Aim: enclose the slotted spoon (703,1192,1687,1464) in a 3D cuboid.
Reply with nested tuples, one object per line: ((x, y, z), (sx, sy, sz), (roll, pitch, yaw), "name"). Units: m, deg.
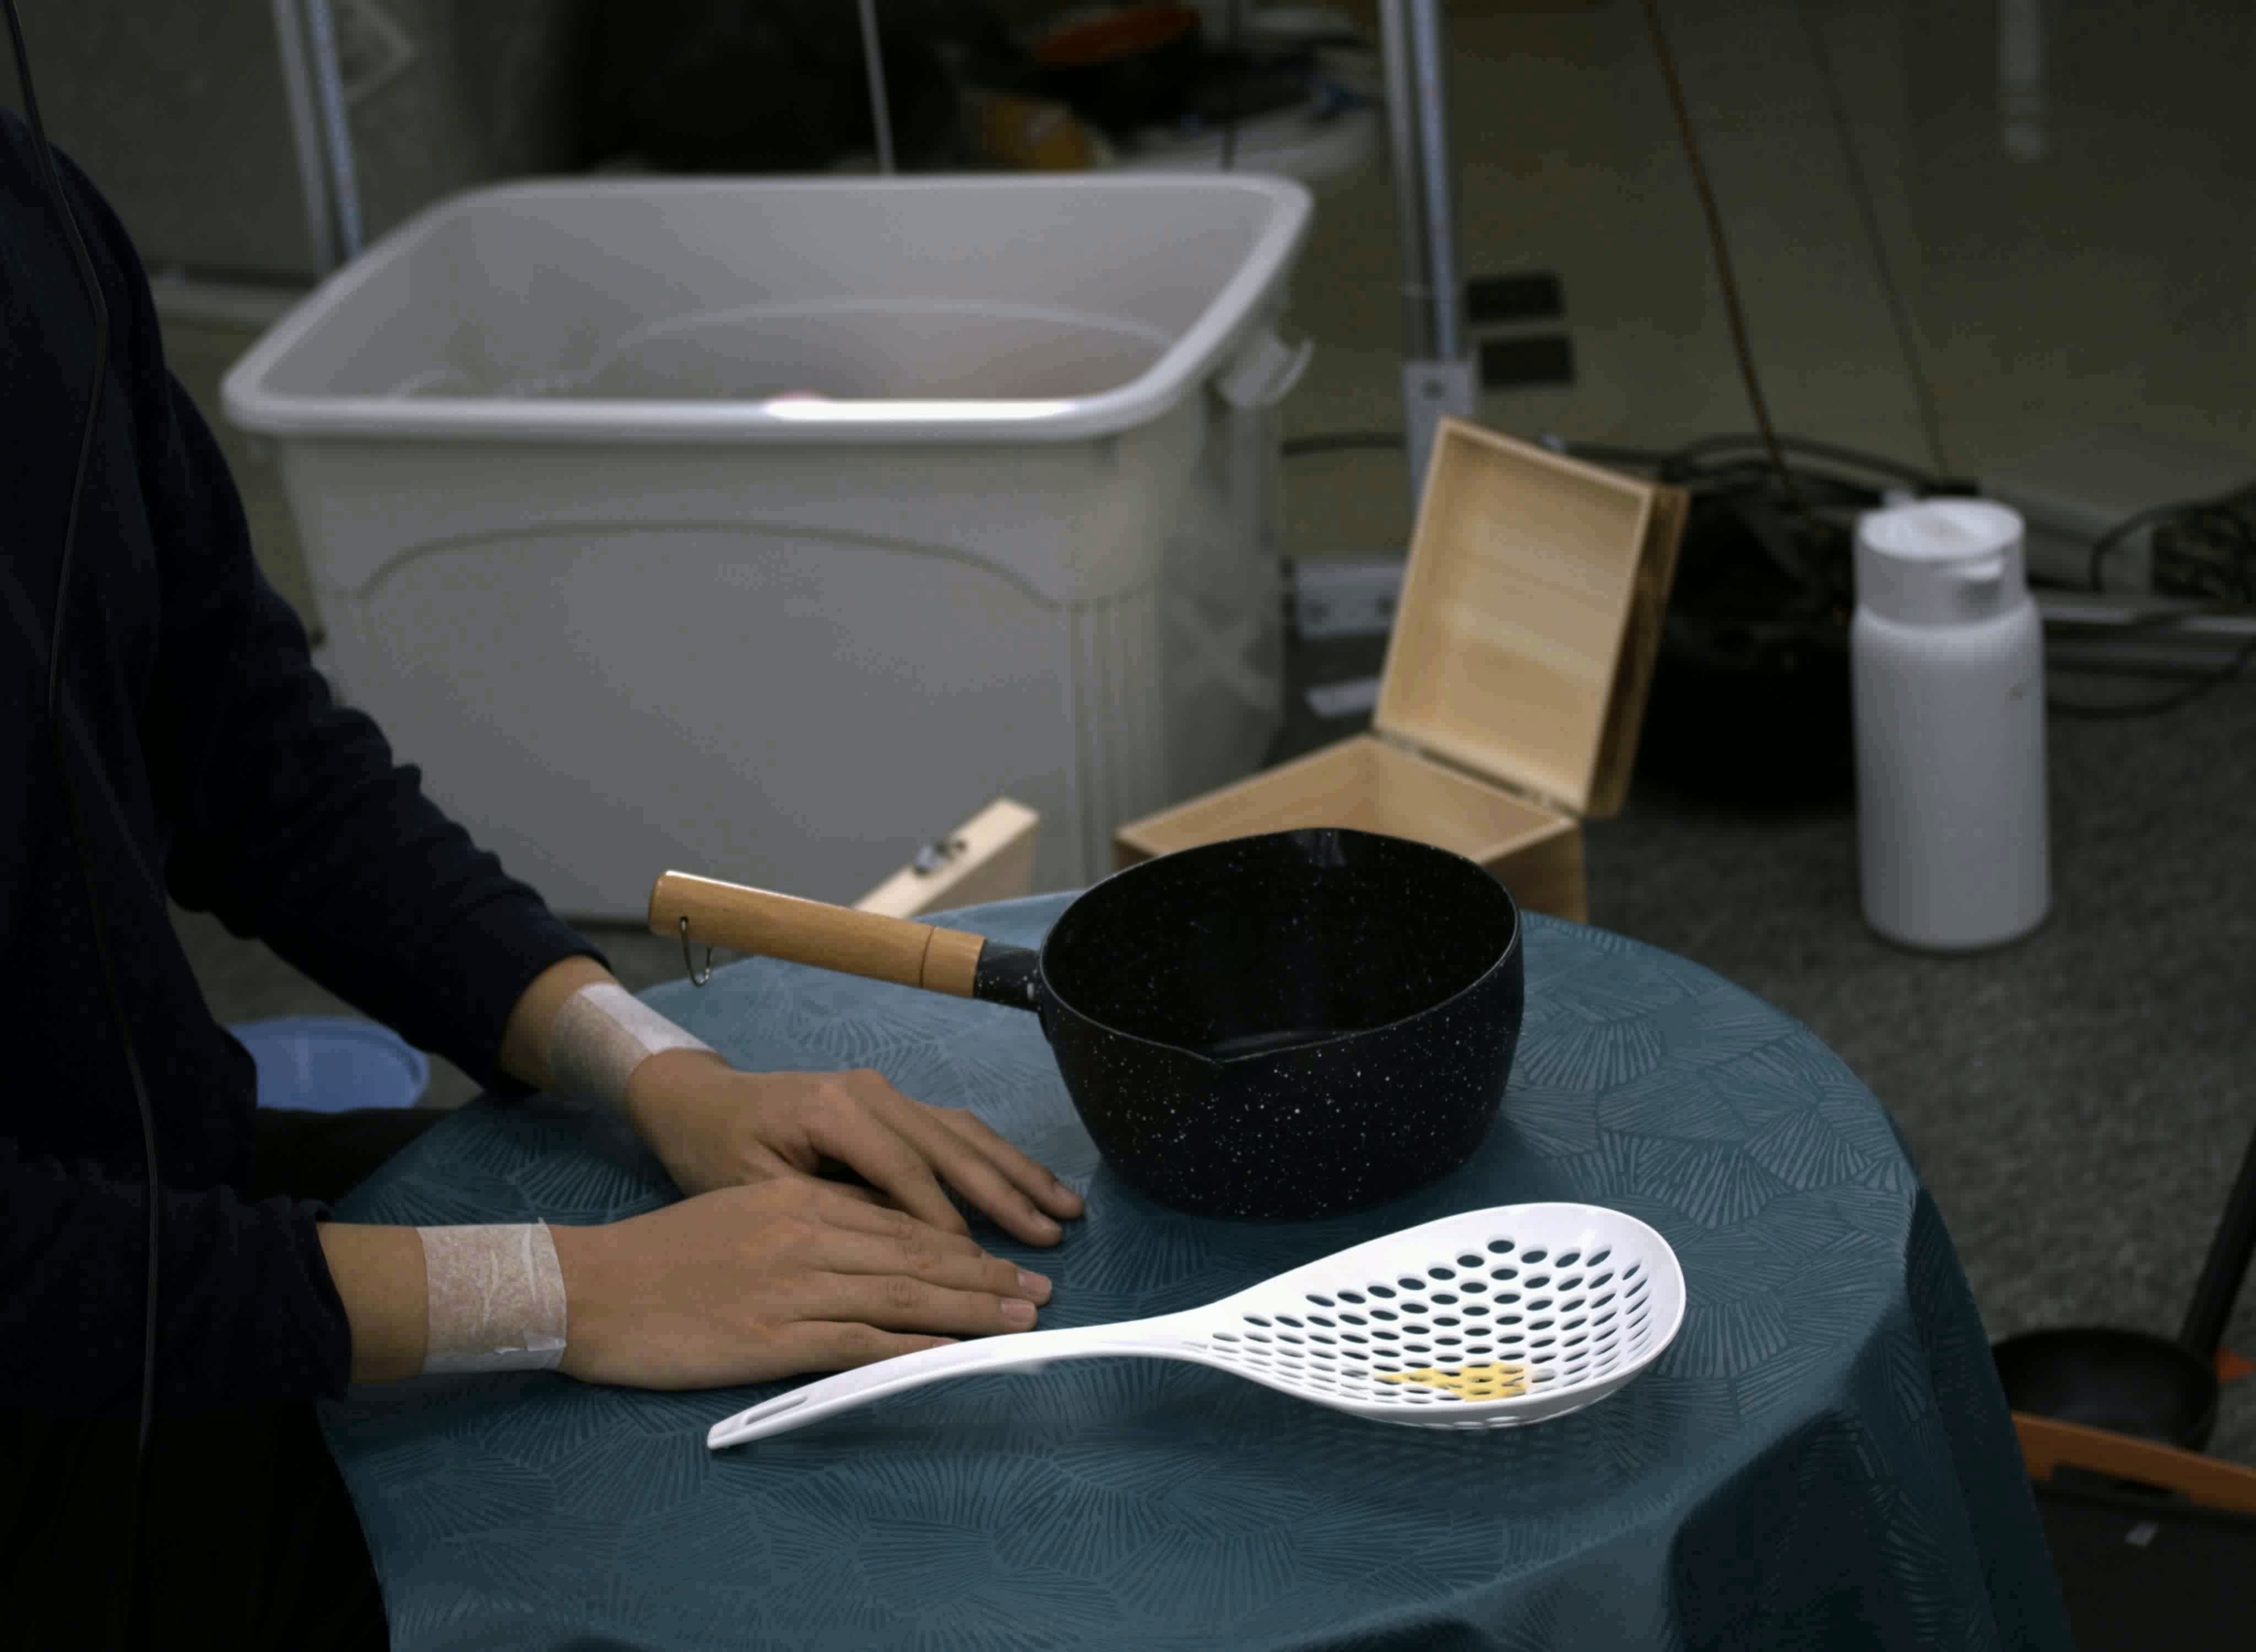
((0.022, 0.188, 1.986), (0.347, 0.051, 0.135), (-3, 27, 3), "slotted spoon")

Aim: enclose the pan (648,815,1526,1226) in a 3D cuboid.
((-0.017, 0.069, 2.172), (0.342, 0.110, 0.204), (1, 27, 12), "pan")
